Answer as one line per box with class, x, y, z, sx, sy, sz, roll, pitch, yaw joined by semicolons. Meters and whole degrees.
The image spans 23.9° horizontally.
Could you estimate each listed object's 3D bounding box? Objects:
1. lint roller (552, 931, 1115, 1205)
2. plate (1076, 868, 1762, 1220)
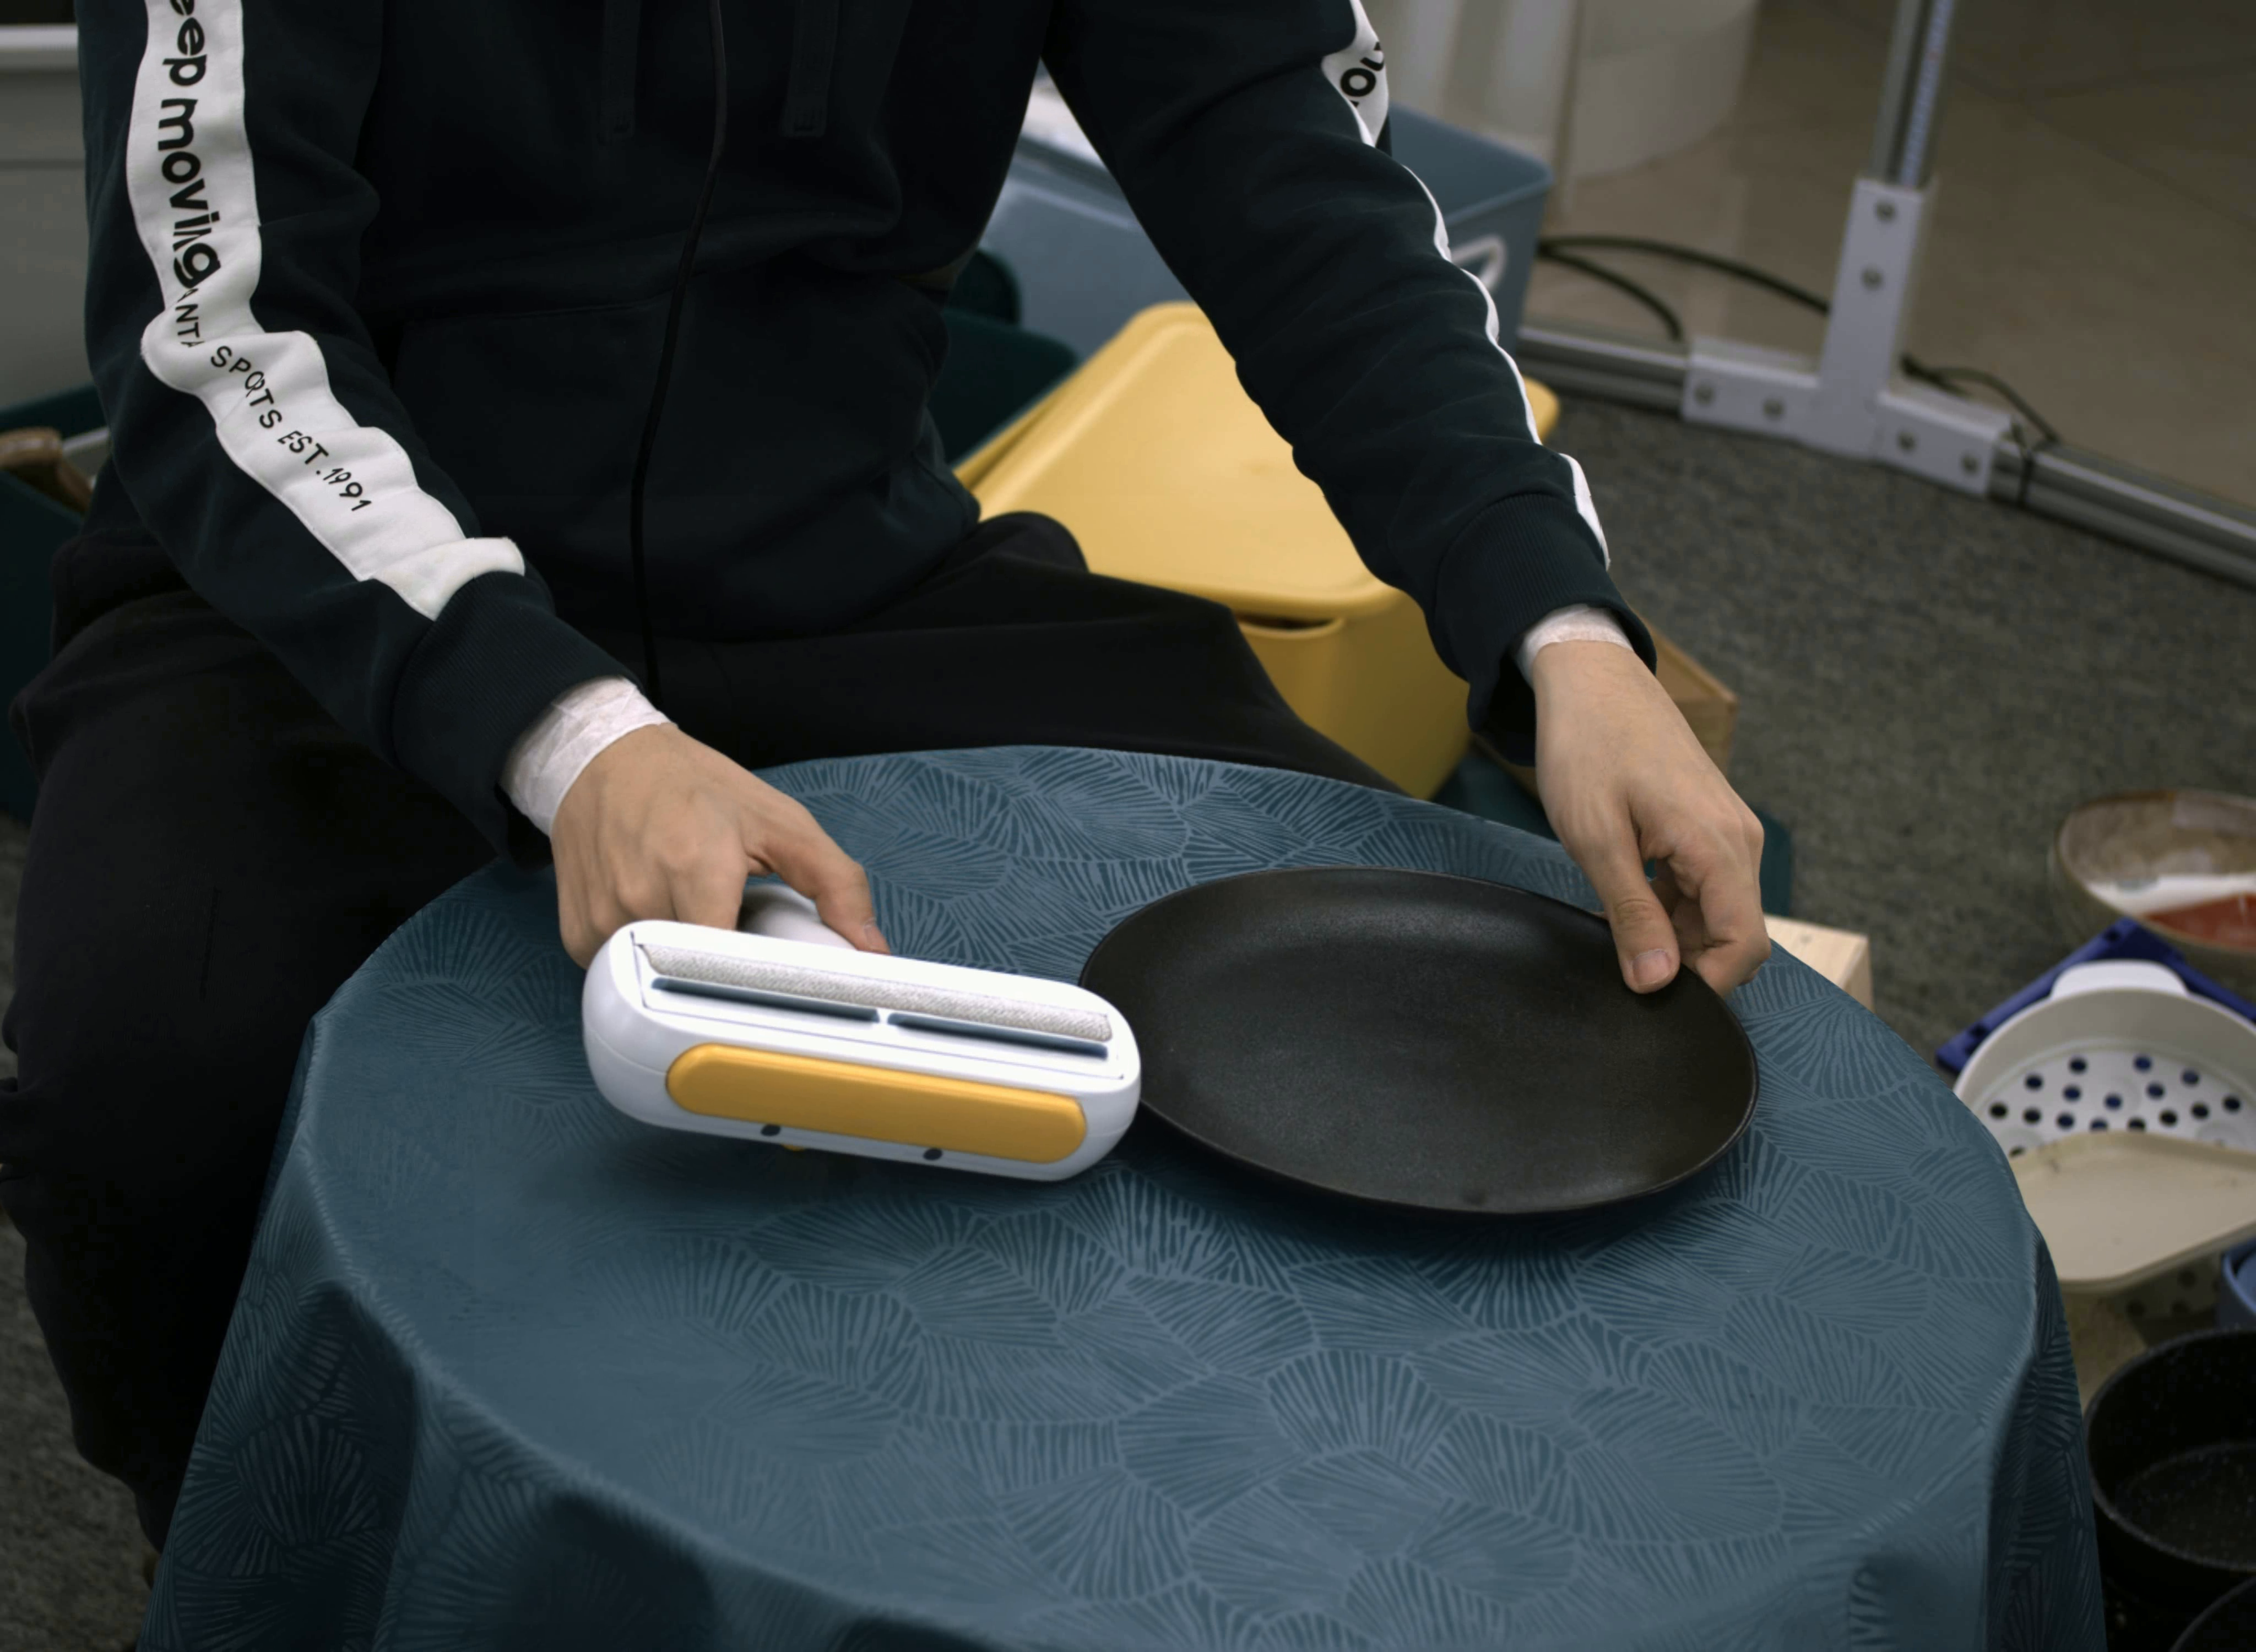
lint roller;-0.110;0.074;1.838;0.192;0.074;0.193;9;12;-12
plate;0.101;0.081;1.880;0.243;0.023;0.246;5;27;-3
